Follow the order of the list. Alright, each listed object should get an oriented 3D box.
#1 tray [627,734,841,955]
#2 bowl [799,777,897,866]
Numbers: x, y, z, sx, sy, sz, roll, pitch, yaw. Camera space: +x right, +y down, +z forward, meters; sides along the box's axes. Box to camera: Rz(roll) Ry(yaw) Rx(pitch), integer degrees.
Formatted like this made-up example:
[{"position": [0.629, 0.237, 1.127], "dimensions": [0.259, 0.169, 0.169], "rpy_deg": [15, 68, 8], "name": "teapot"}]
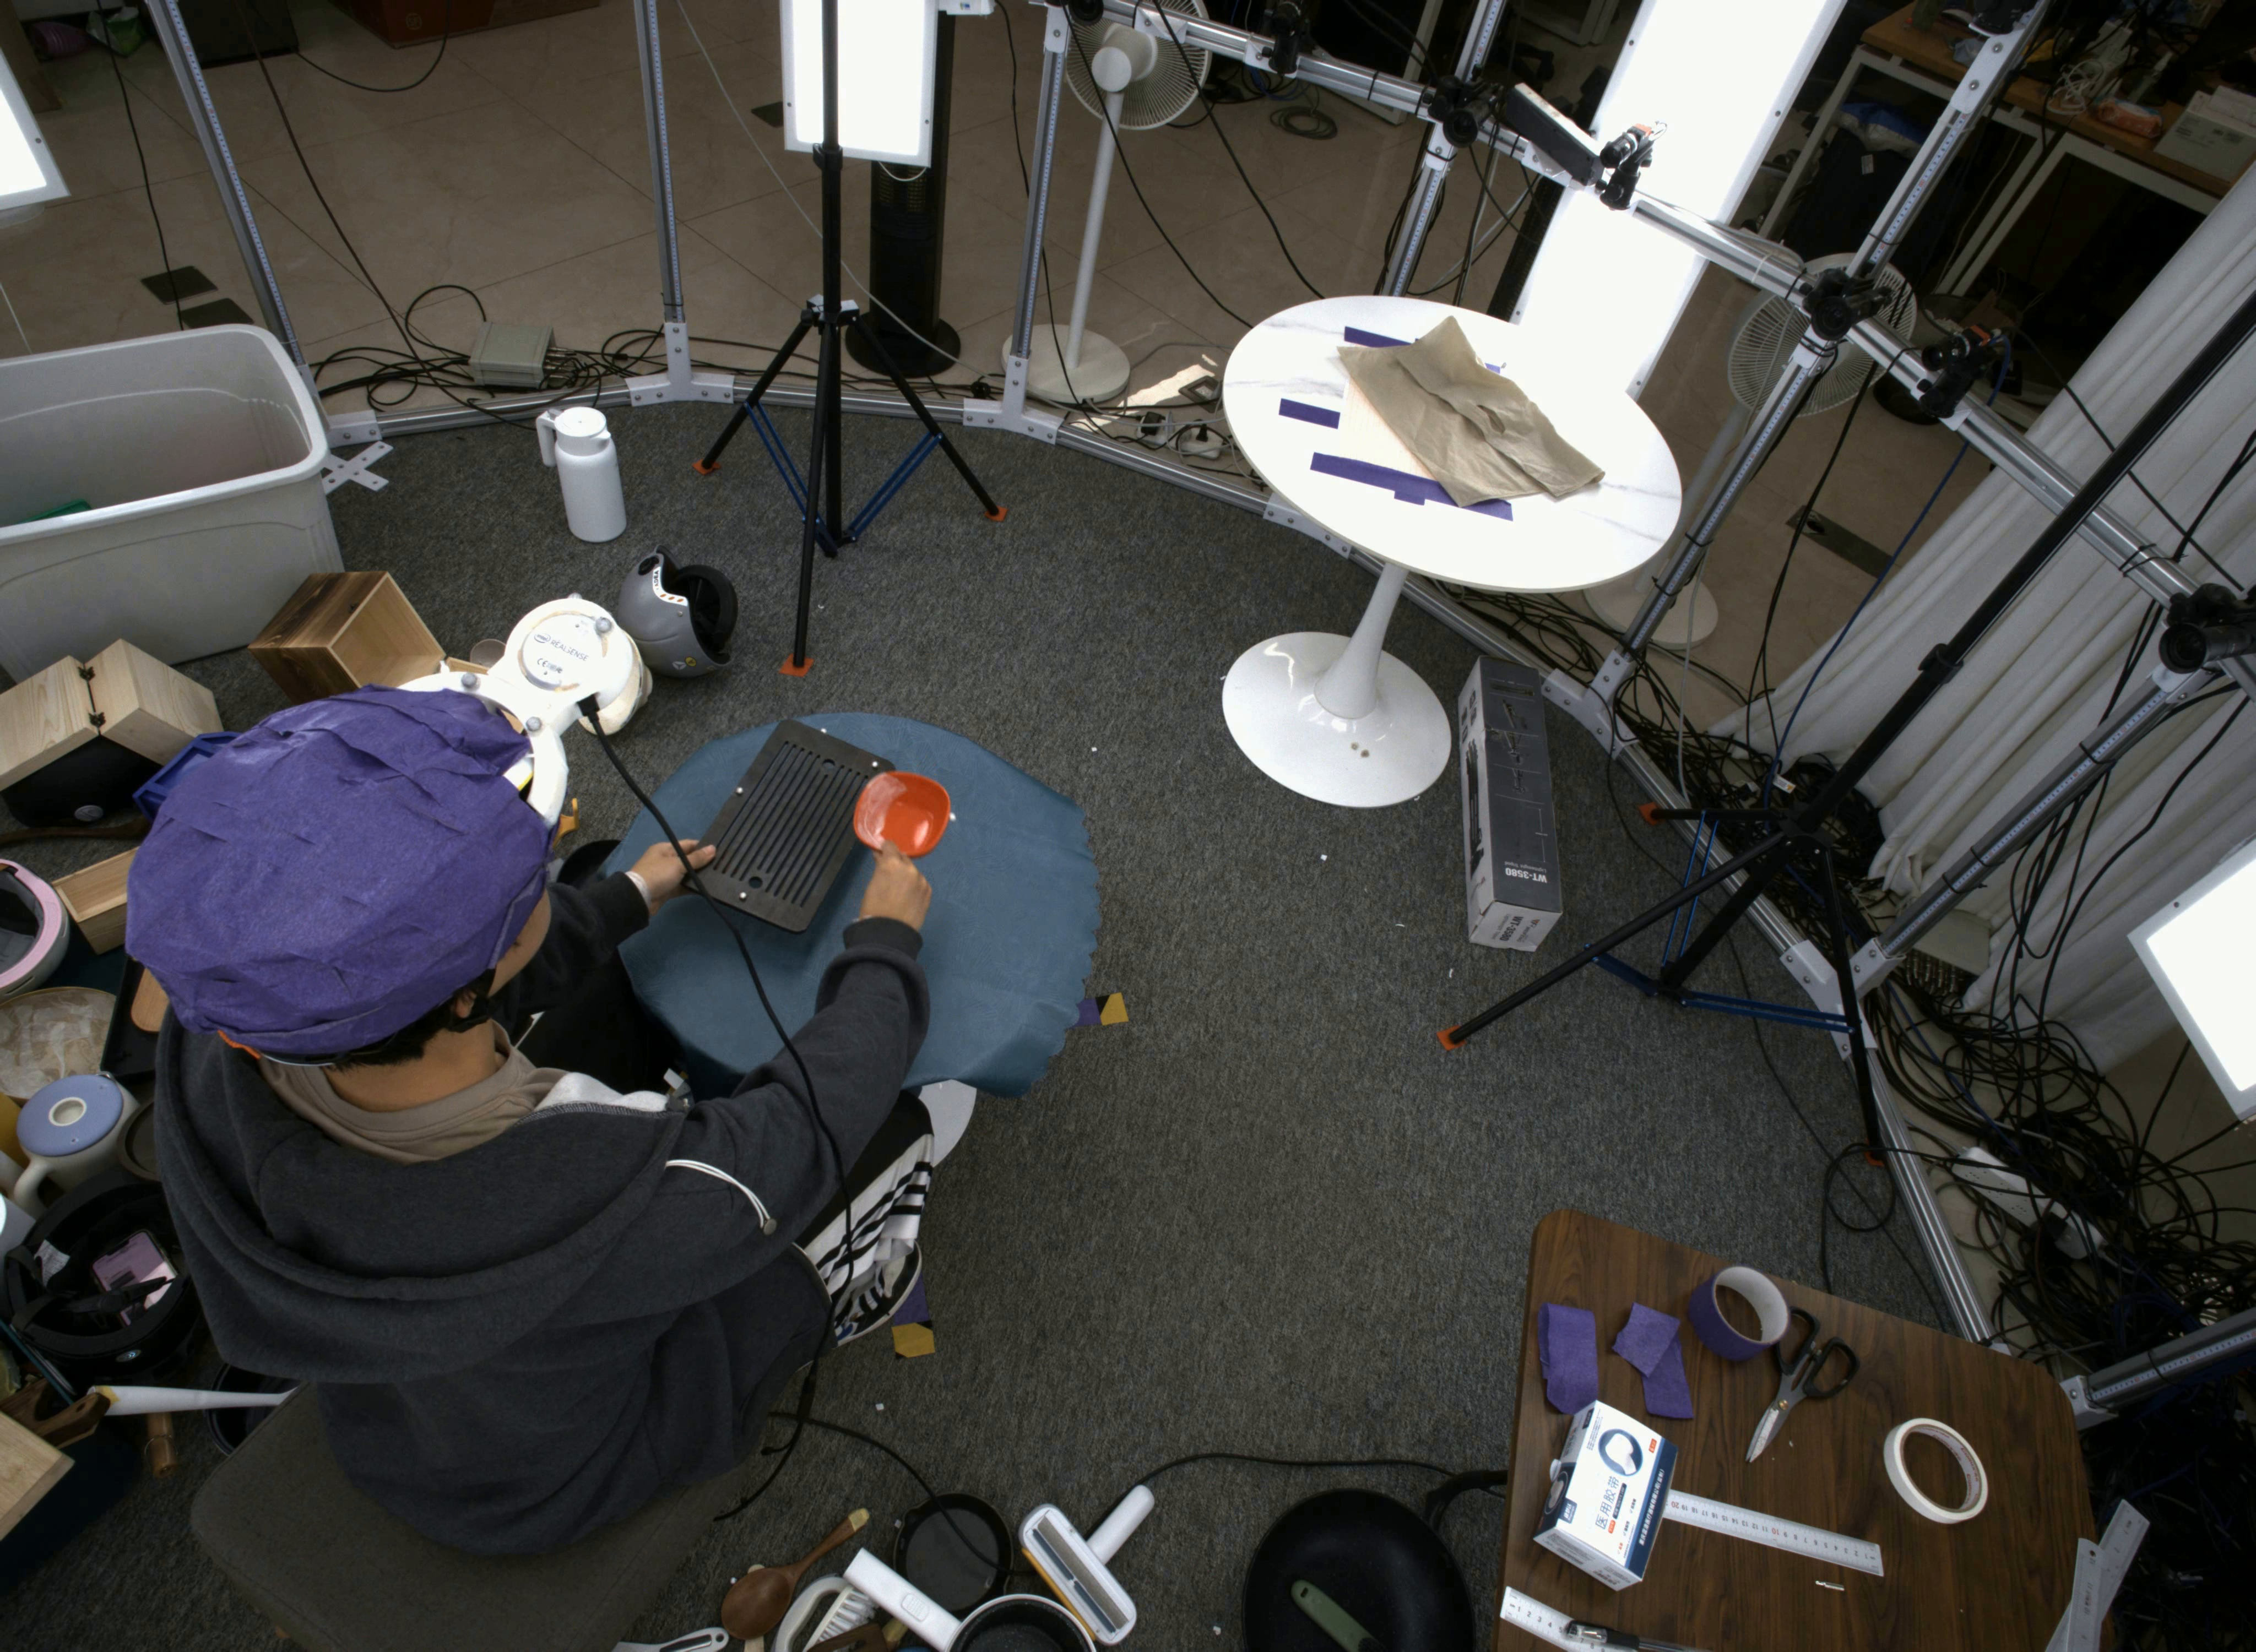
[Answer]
[{"position": [-0.490, 0.017, 1.626], "dimensions": [0.170, 0.019, 0.302], "rpy_deg": [22, 50, -6], "name": "tray"}, {"position": [-0.328, 0.002, 1.535], "dimensions": [0.118, 0.052, 0.117], "rpy_deg": [4, 62, -5], "name": "bowl"}]
